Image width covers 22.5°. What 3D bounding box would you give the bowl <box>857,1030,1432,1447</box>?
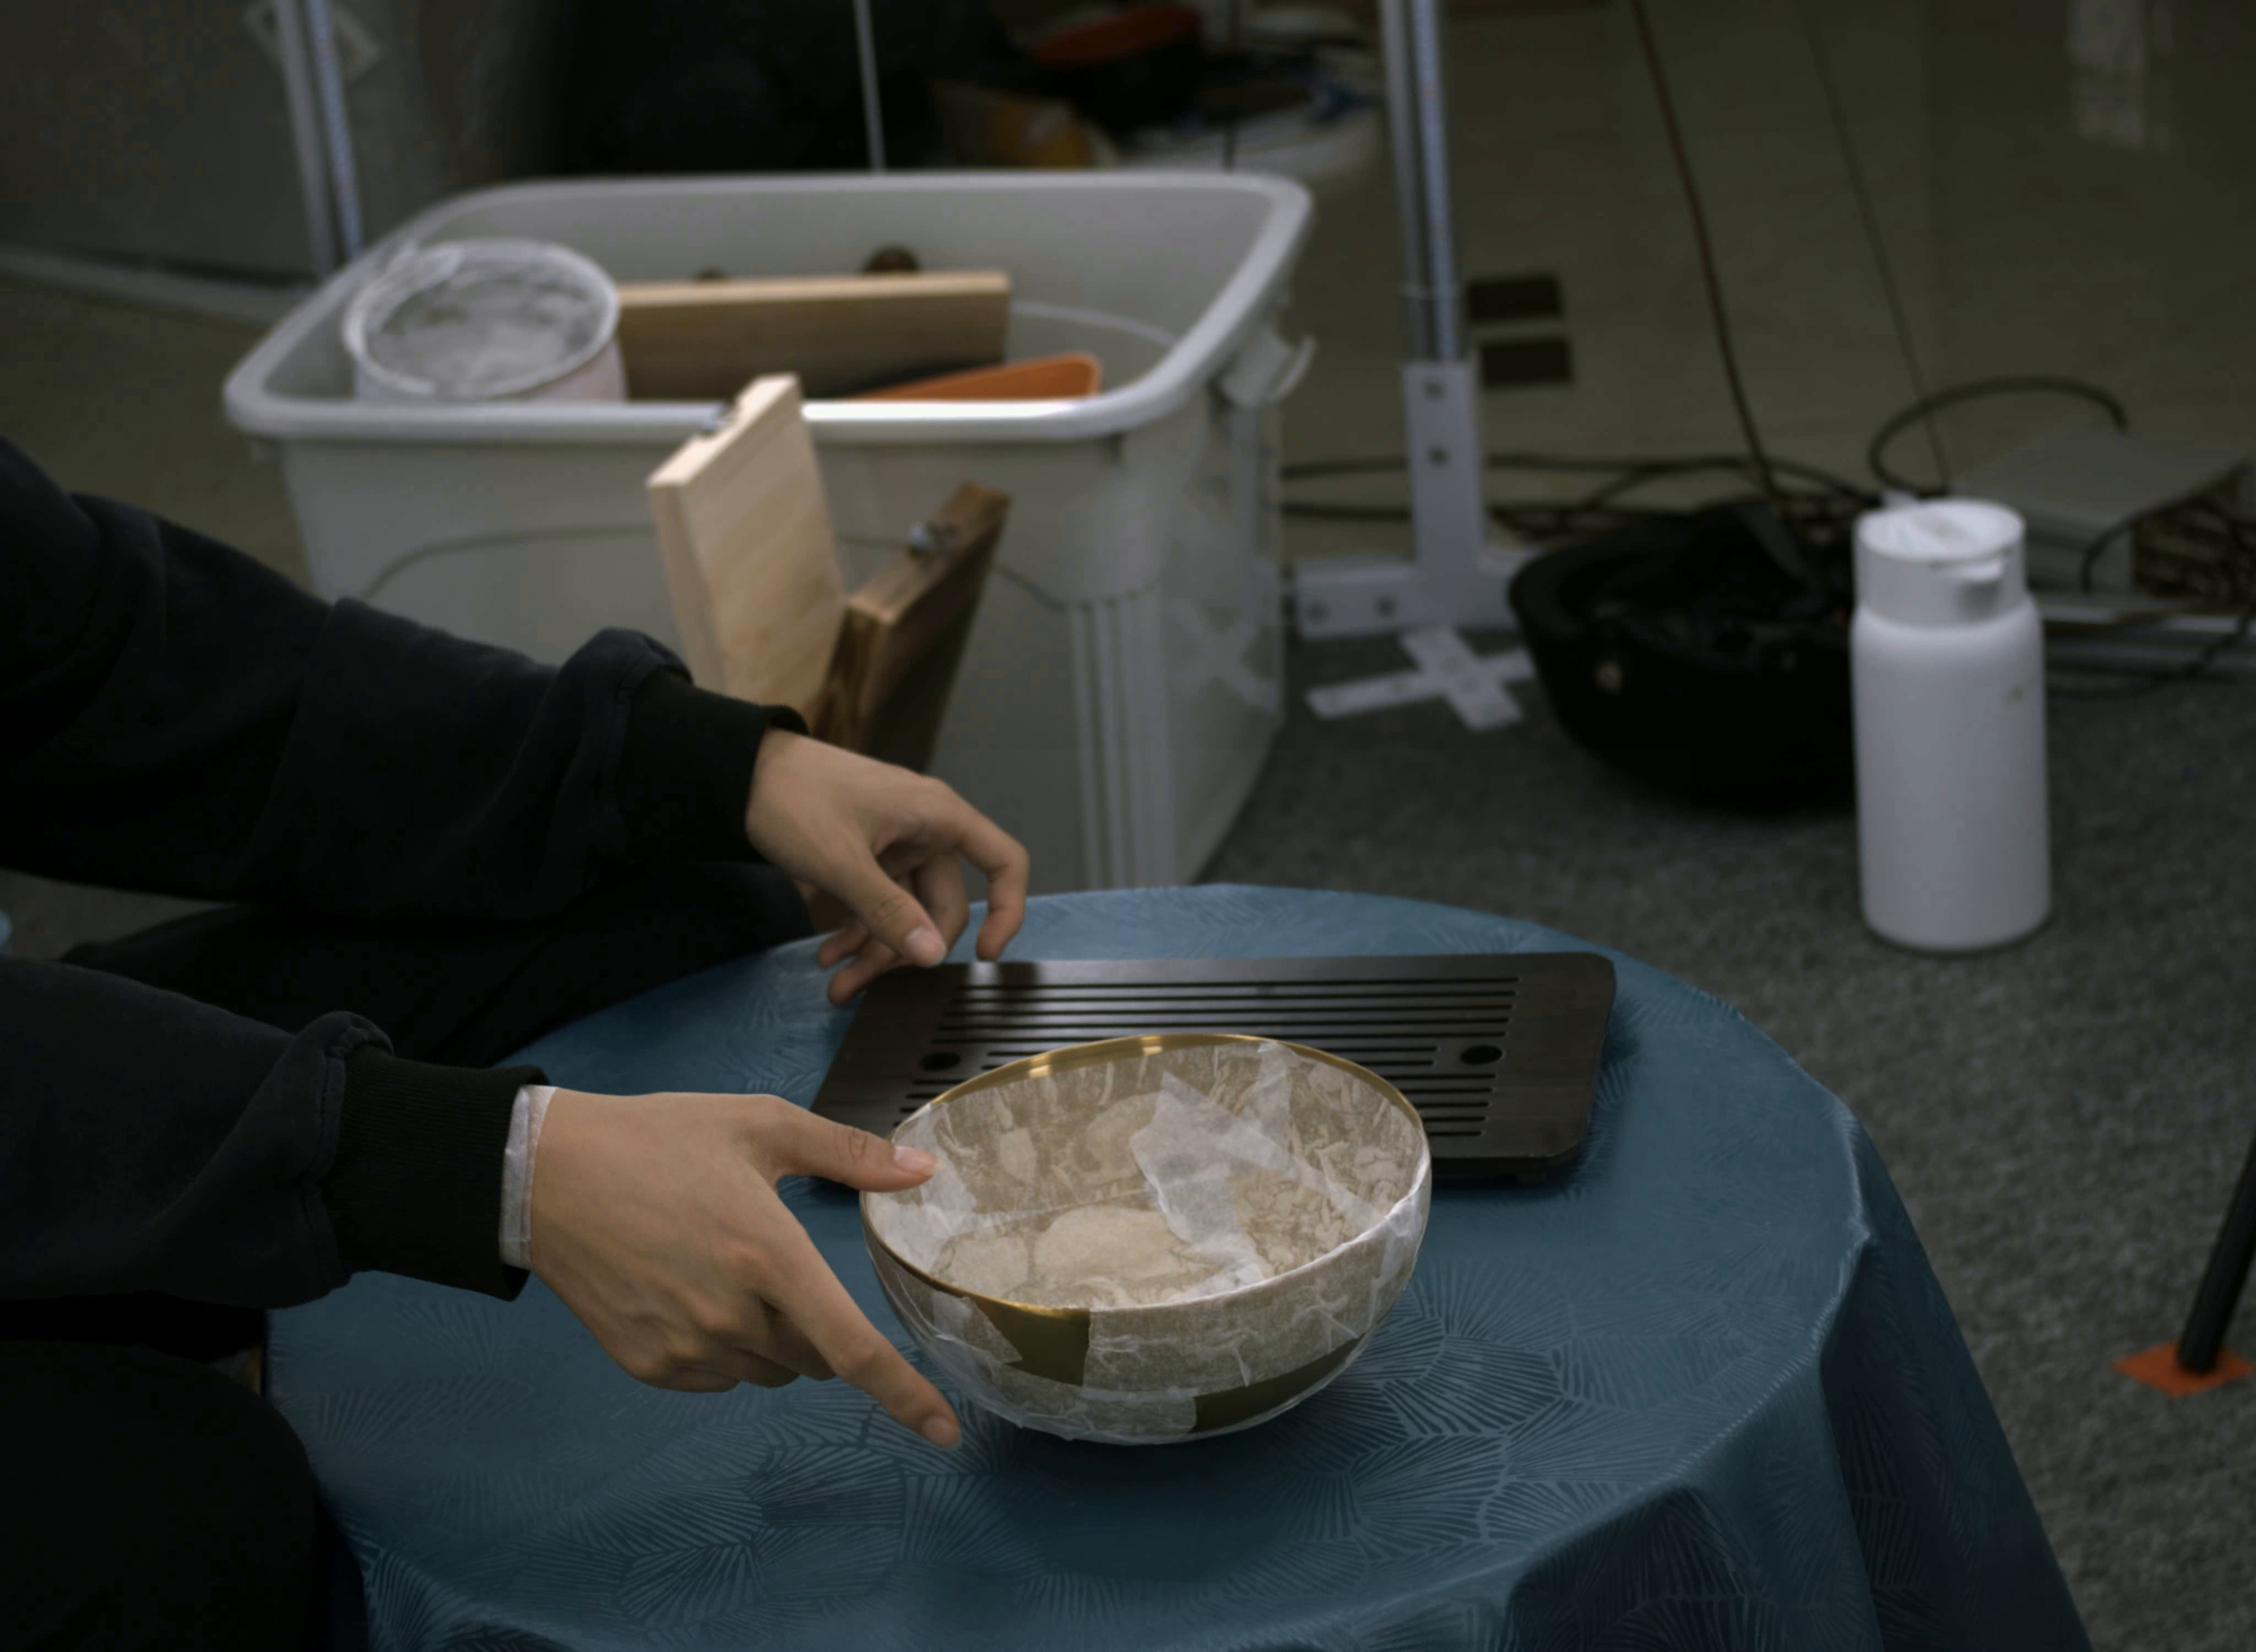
[{"bbox_3d":[0.009,0.156,2.002,0.214,0.096,0.211,-6,26,3],"label":"bowl"}]

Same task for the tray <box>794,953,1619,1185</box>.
[{"bbox_3d":[0.033,0.096,2.217,0.305,0.019,0.167,-1,25,12],"label":"tray"}]
